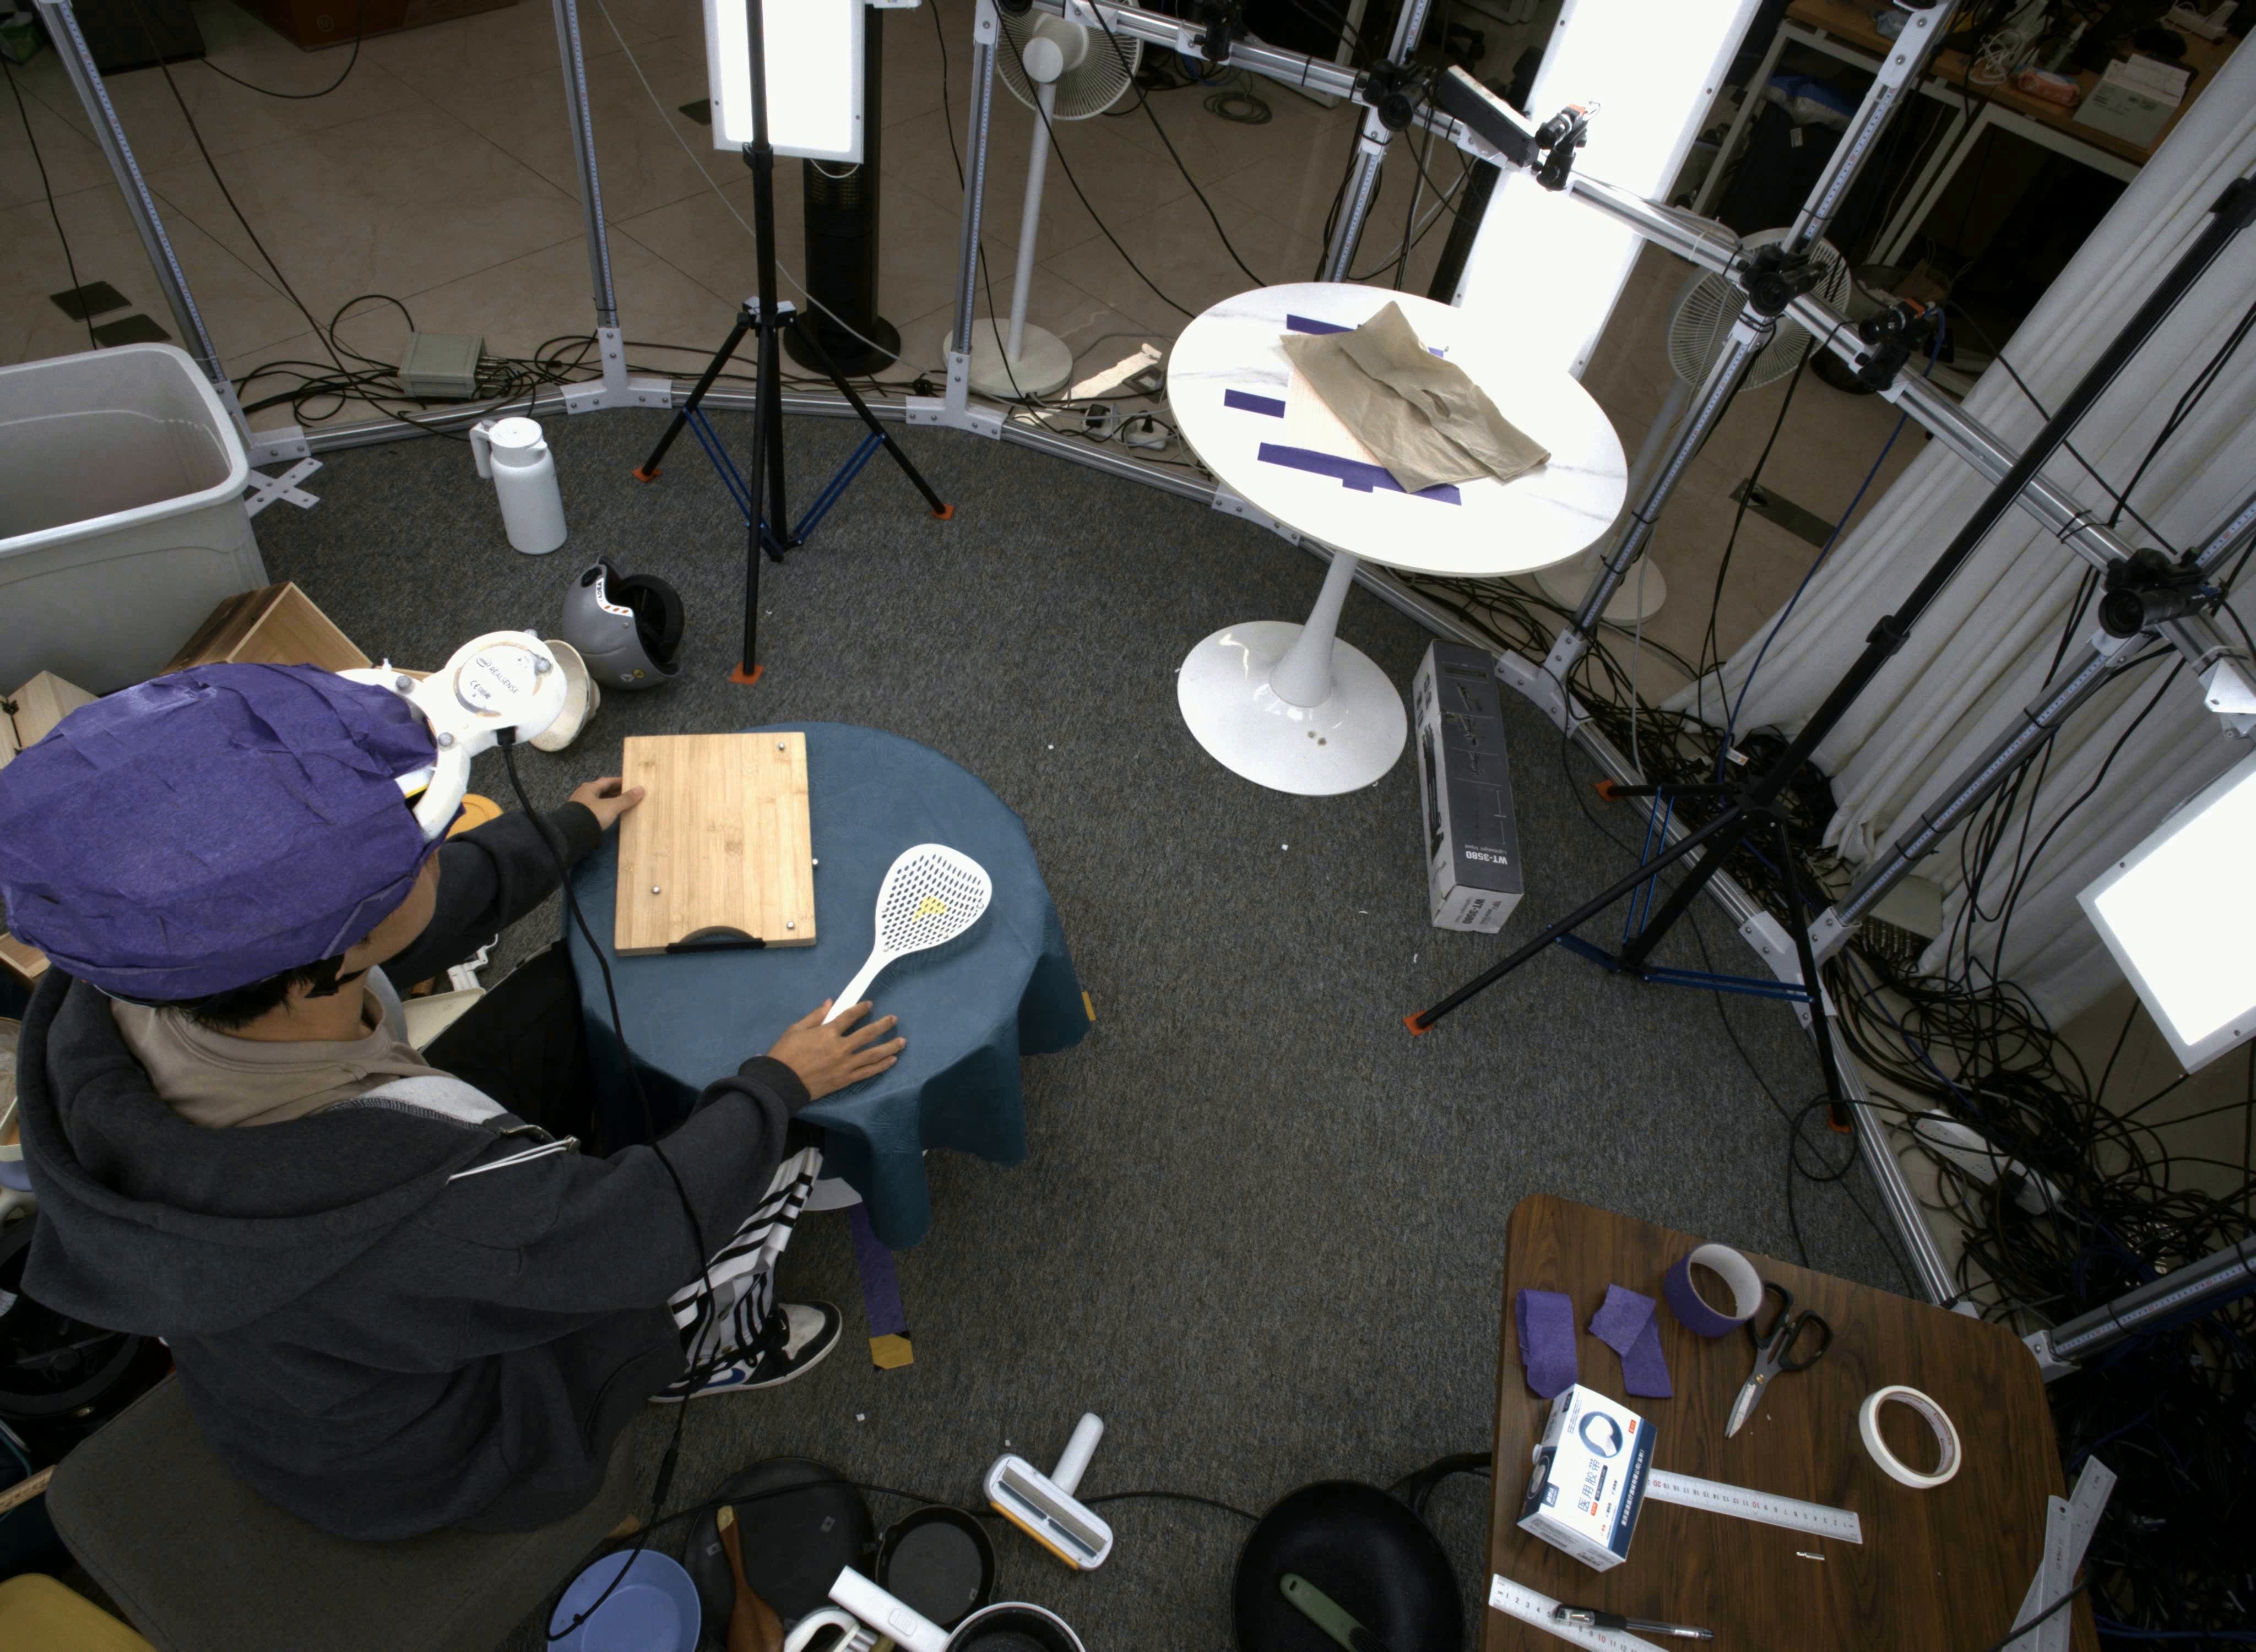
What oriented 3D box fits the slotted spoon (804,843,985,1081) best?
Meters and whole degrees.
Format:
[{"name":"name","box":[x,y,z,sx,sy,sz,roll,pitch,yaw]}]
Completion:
[{"name":"slotted spoon","box":[-0.304,0.163,1.612,0.135,0.051,0.346,29,52,6]}]

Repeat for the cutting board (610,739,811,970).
[{"name":"cutting board","box":[-0.542,0.024,1.670,0.251,0.024,0.341,-4,55,-17]}]
